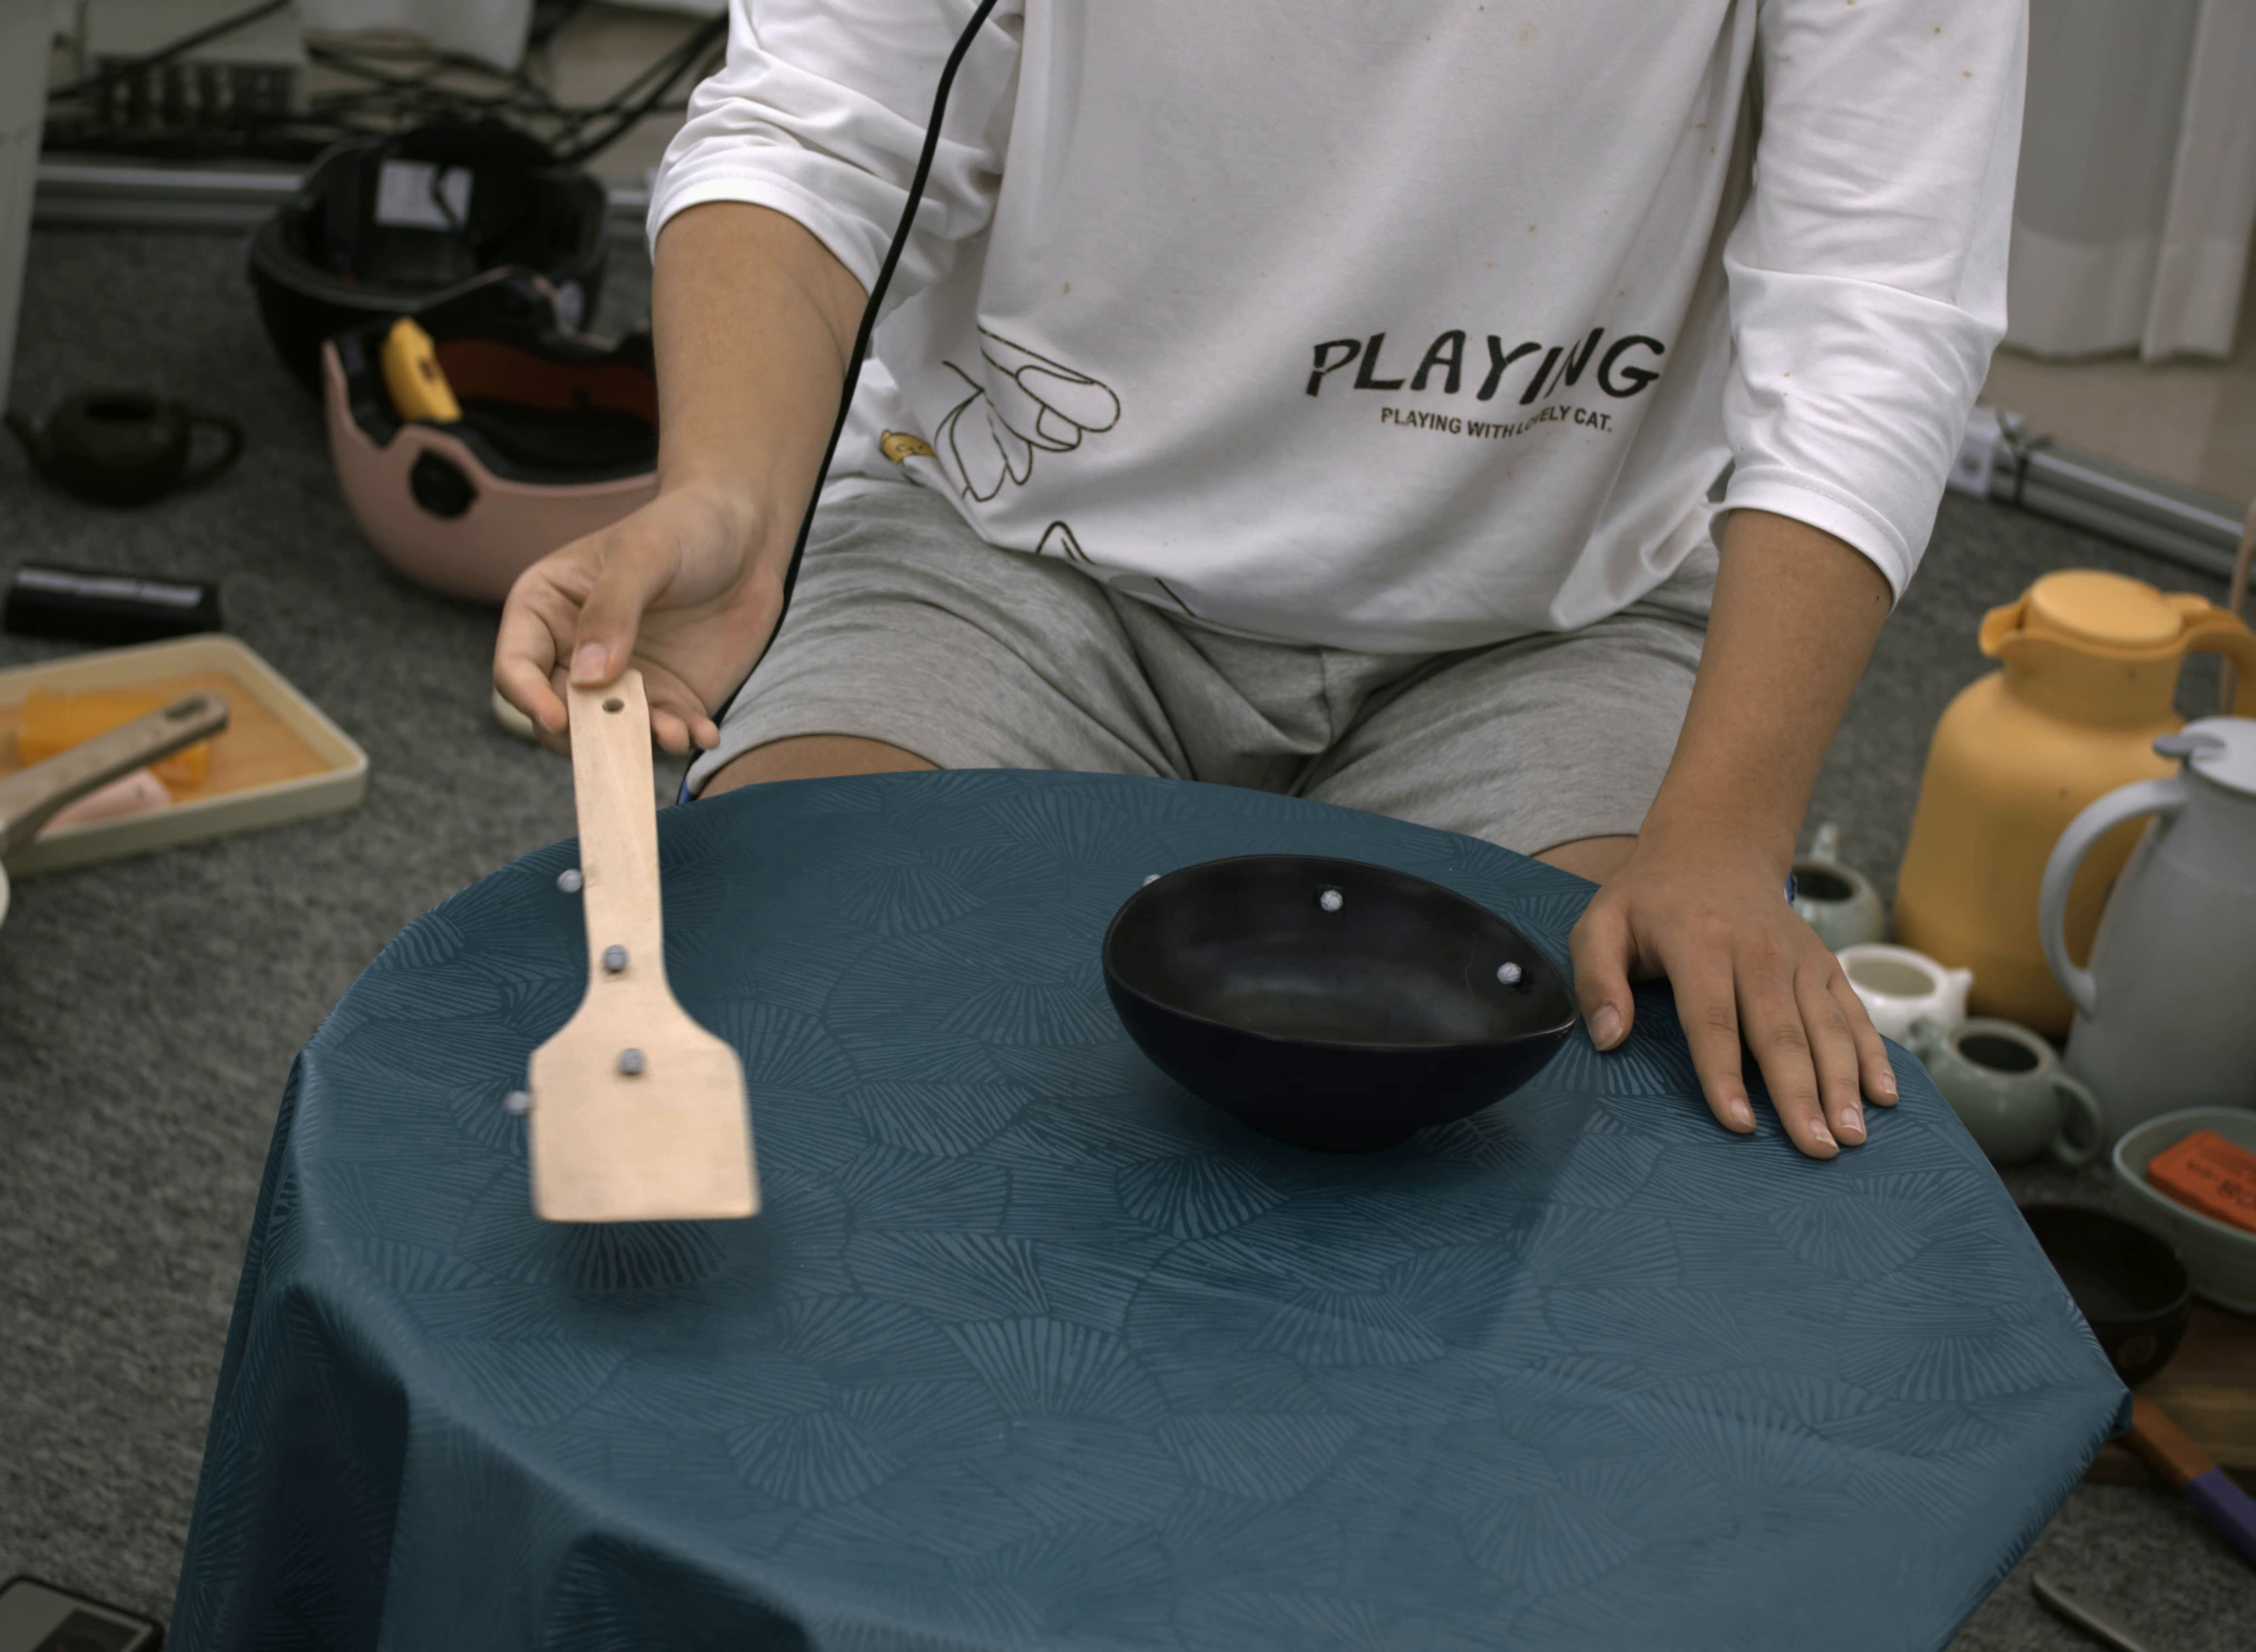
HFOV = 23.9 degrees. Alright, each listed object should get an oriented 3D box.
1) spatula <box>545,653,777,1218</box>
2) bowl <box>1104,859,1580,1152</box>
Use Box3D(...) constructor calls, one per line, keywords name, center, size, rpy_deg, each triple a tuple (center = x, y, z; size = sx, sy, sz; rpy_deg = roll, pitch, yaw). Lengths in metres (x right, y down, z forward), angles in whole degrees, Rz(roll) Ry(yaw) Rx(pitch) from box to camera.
Box3D(name="spatula", center=(-0.167, 0.033, 1.799), size=(0.072, 0.010, 0.295), rpy_deg=(-2, 39, -9))
Box3D(name="bowl", center=(0.071, 0.069, 1.860), size=(0.169, 0.066, 0.138), rpy_deg=(3, 26, -12))
